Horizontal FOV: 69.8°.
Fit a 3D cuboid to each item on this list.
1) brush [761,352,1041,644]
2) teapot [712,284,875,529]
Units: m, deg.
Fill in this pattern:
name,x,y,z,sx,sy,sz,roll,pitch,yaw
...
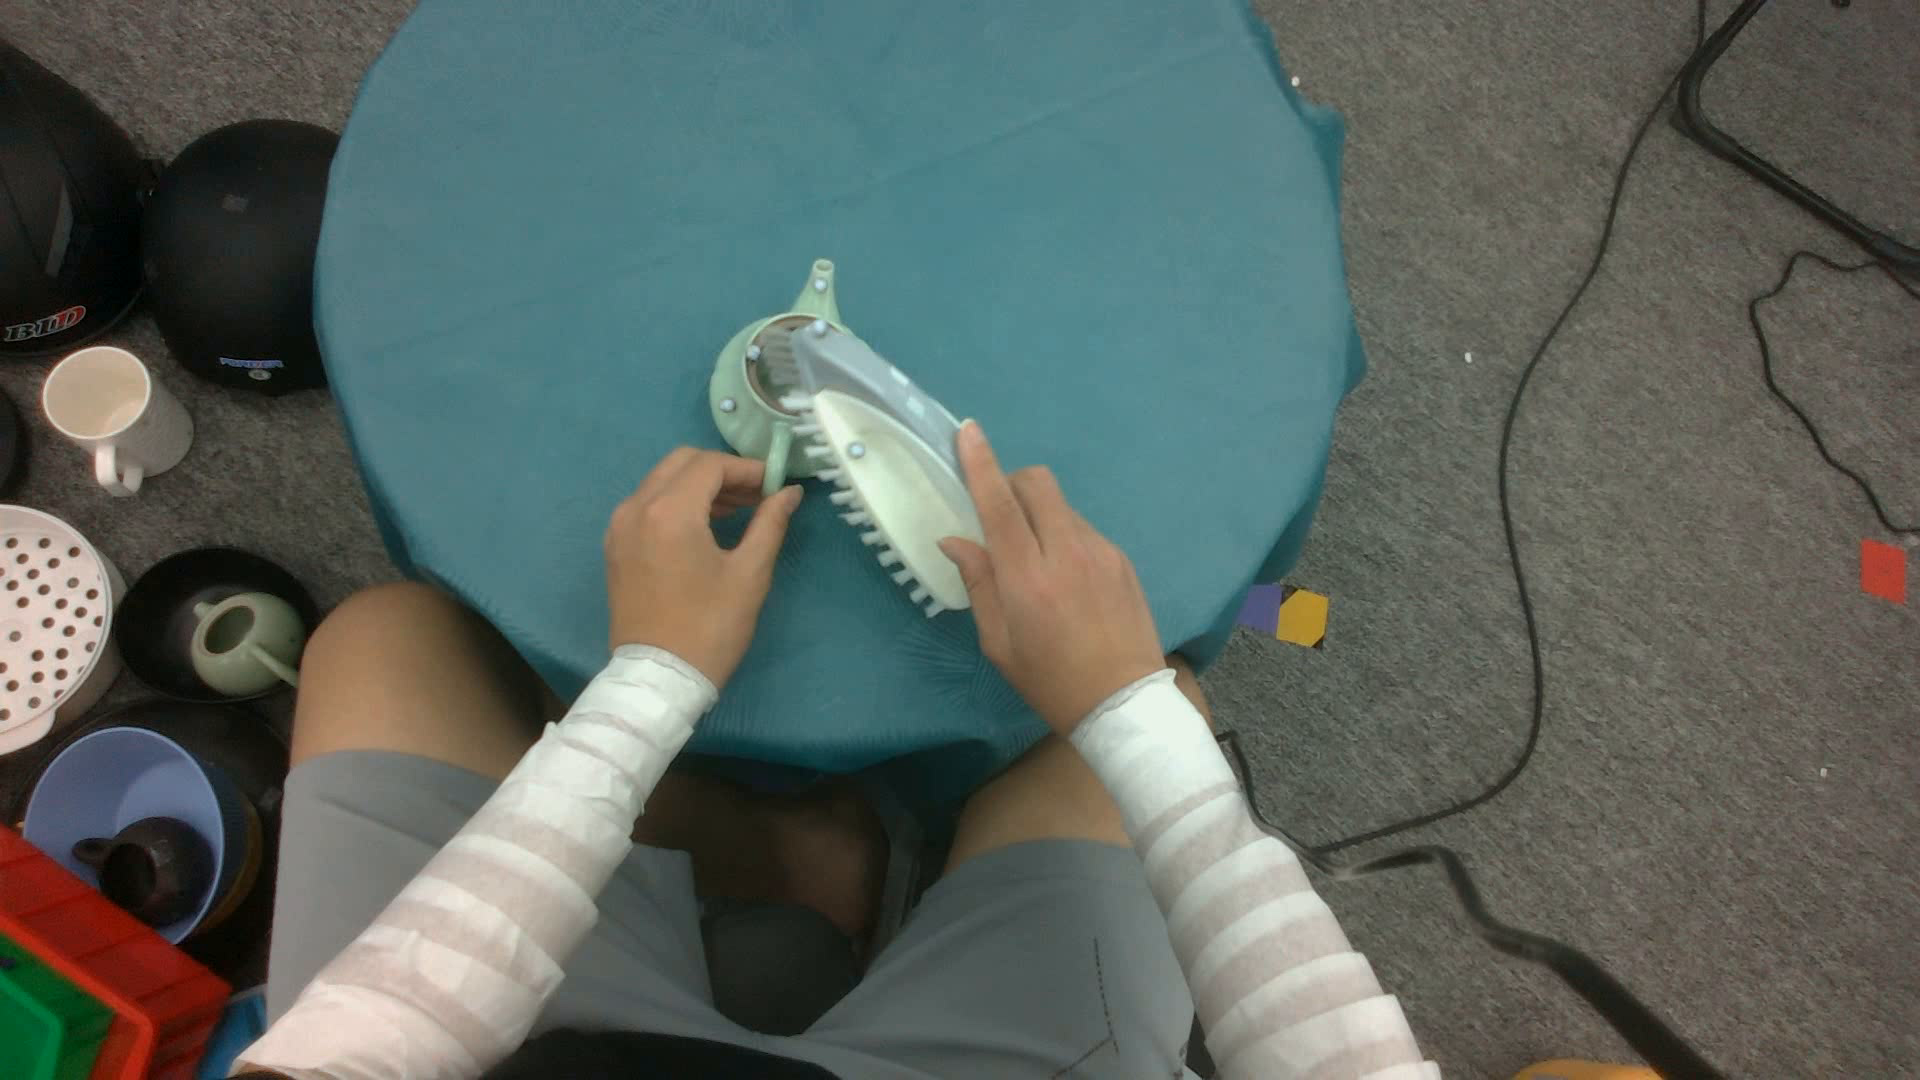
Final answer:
name,x,y,z,sx,sy,sz,roll,pitch,yaw
brush,-0.025,-0.030,0.696,0.175,0.094,0.062,51,55,-14
teapot,-0.088,-0.068,0.757,0.096,0.061,0.137,8,70,-7
